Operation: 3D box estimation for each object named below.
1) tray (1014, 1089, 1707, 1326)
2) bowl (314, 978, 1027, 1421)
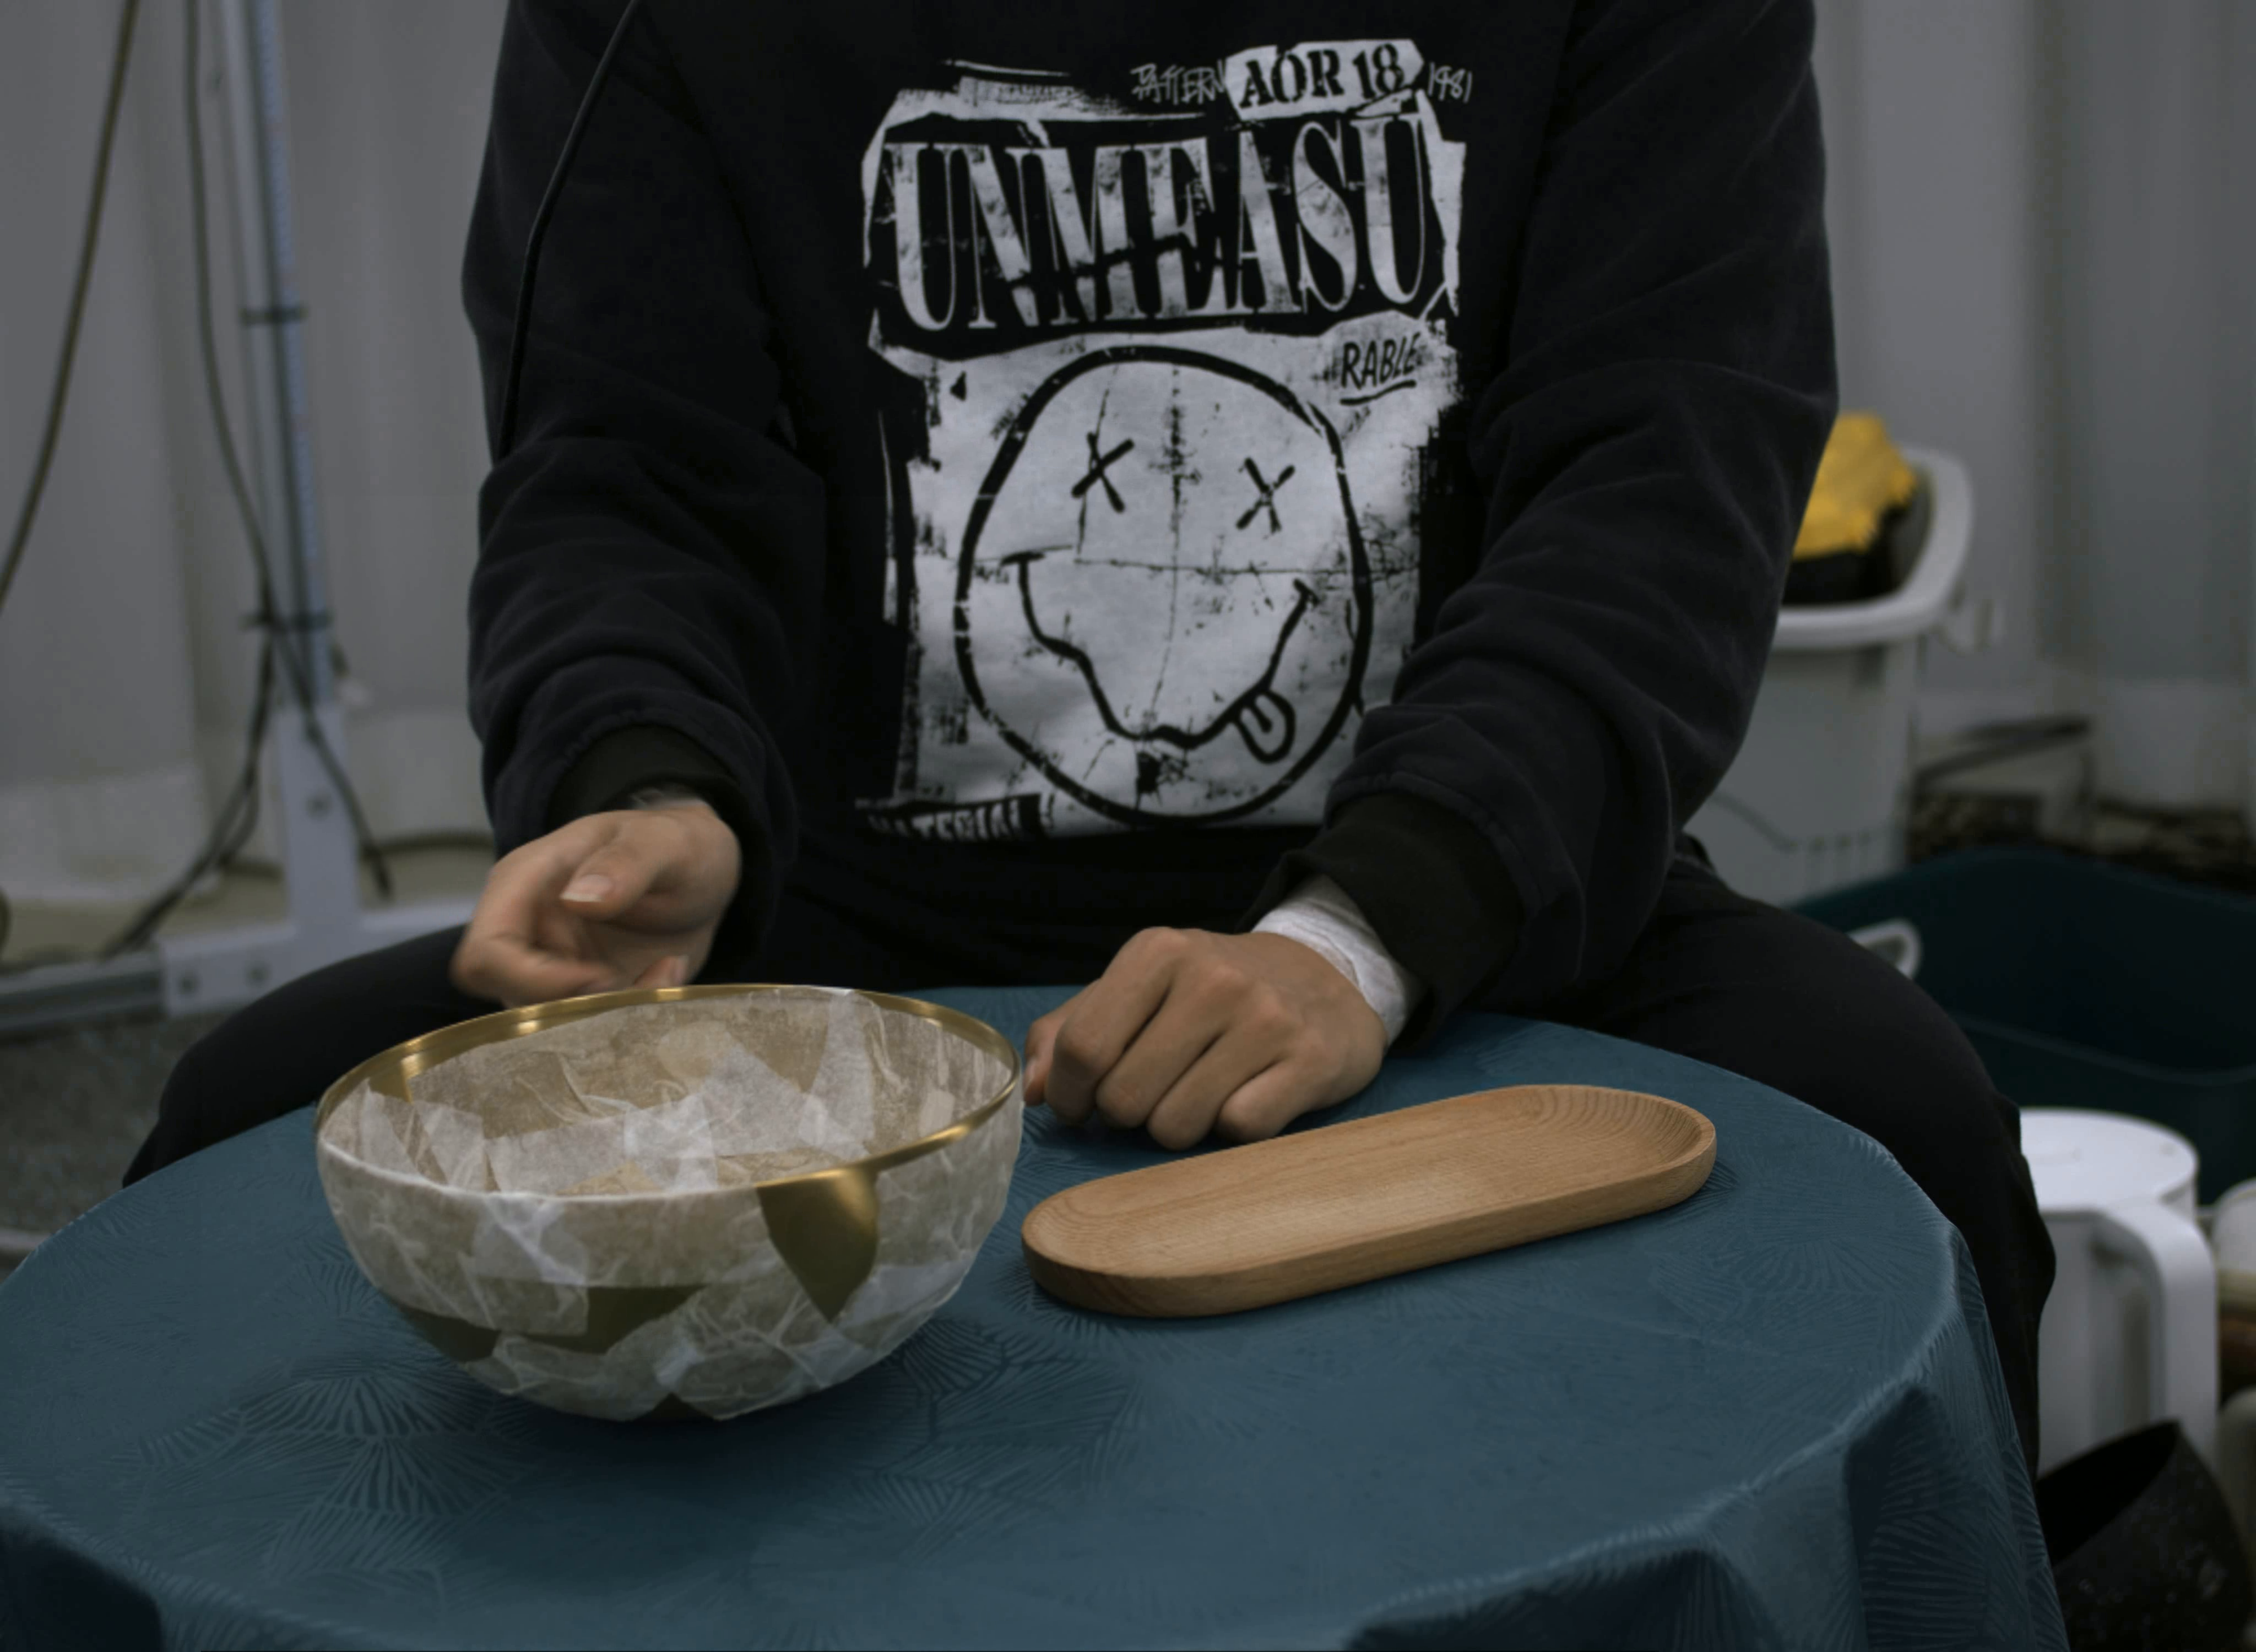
[{"bbox_3d":[0.073,0.116,1.668,0.230,0.020,0.102,-13,16,-28],"label":"tray"},{"bbox_3d":[-0.123,0.114,1.560,0.214,0.094,0.216,-4,14,1],"label":"bowl"}]
